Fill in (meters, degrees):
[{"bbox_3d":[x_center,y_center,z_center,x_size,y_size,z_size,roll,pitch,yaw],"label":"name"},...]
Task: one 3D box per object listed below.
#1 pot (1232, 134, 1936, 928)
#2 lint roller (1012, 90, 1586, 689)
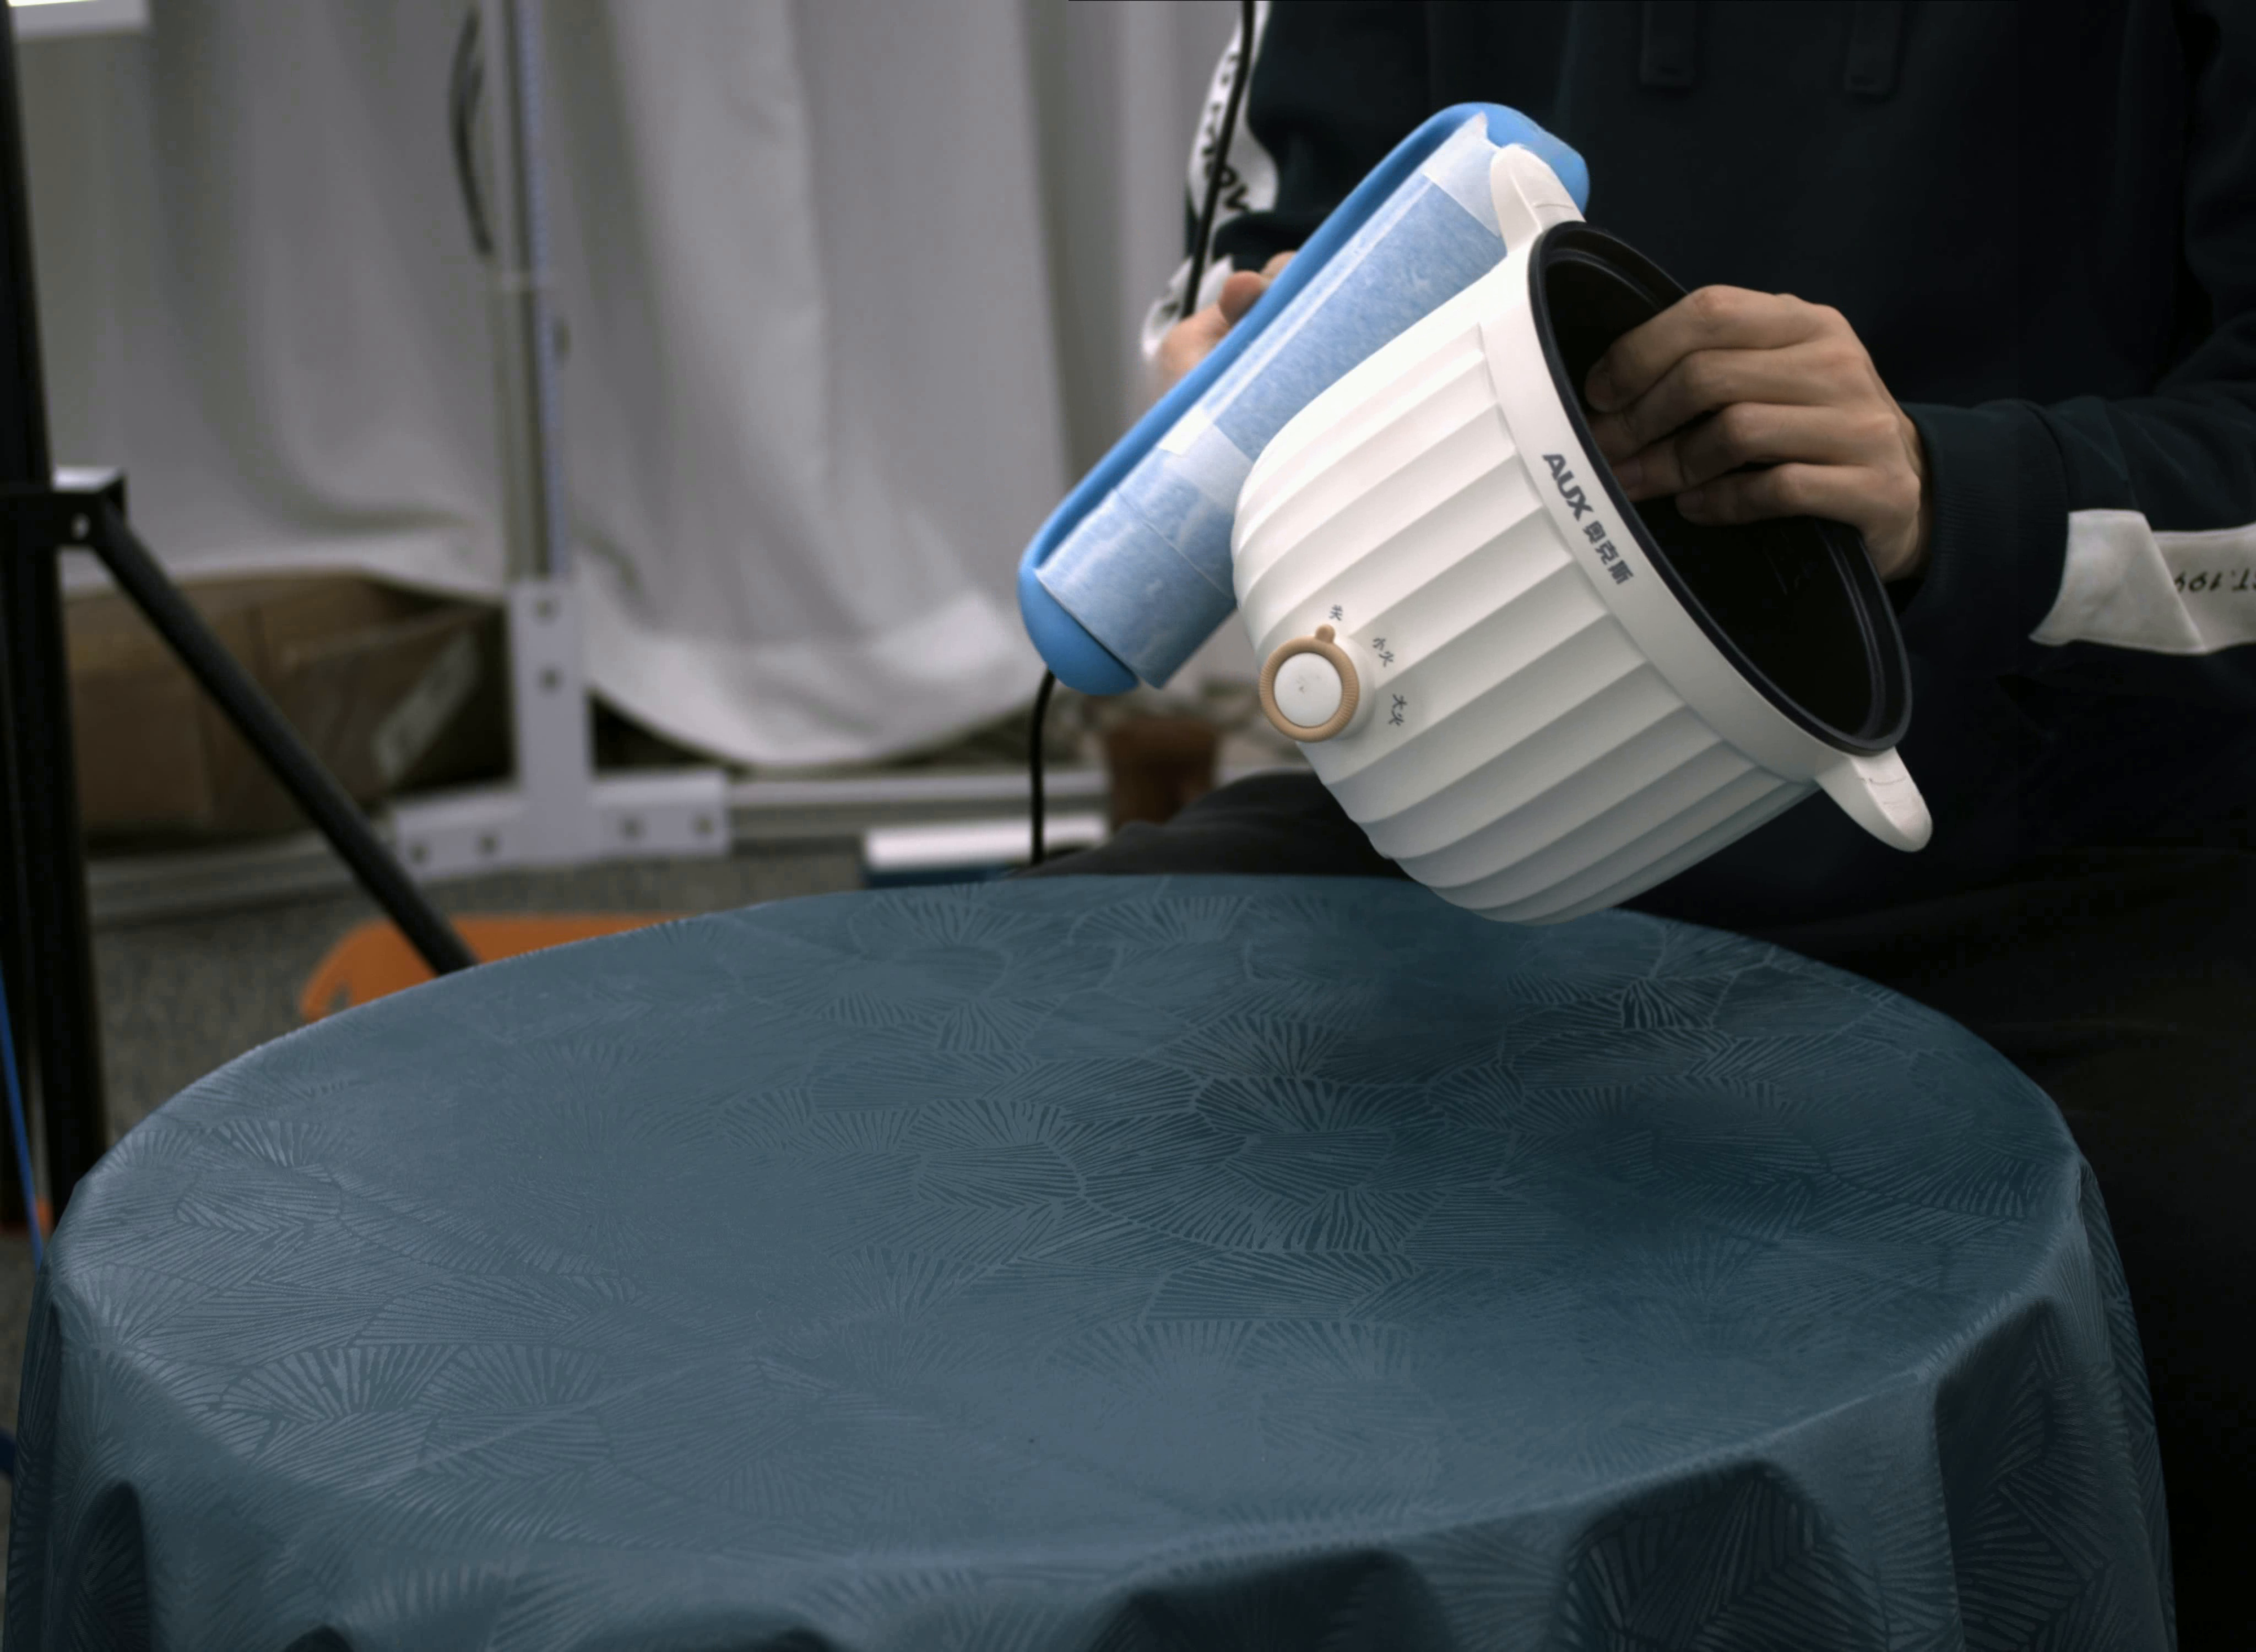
[{"bbox_3d":[0.122,-0.064,1.558,0.144,0.242,0.187,-35,-11,22],"label":"pot"},{"bbox_3d":[0.052,-0.136,1.698,0.229,0.068,0.180,-48,4,2],"label":"lint roller"}]
